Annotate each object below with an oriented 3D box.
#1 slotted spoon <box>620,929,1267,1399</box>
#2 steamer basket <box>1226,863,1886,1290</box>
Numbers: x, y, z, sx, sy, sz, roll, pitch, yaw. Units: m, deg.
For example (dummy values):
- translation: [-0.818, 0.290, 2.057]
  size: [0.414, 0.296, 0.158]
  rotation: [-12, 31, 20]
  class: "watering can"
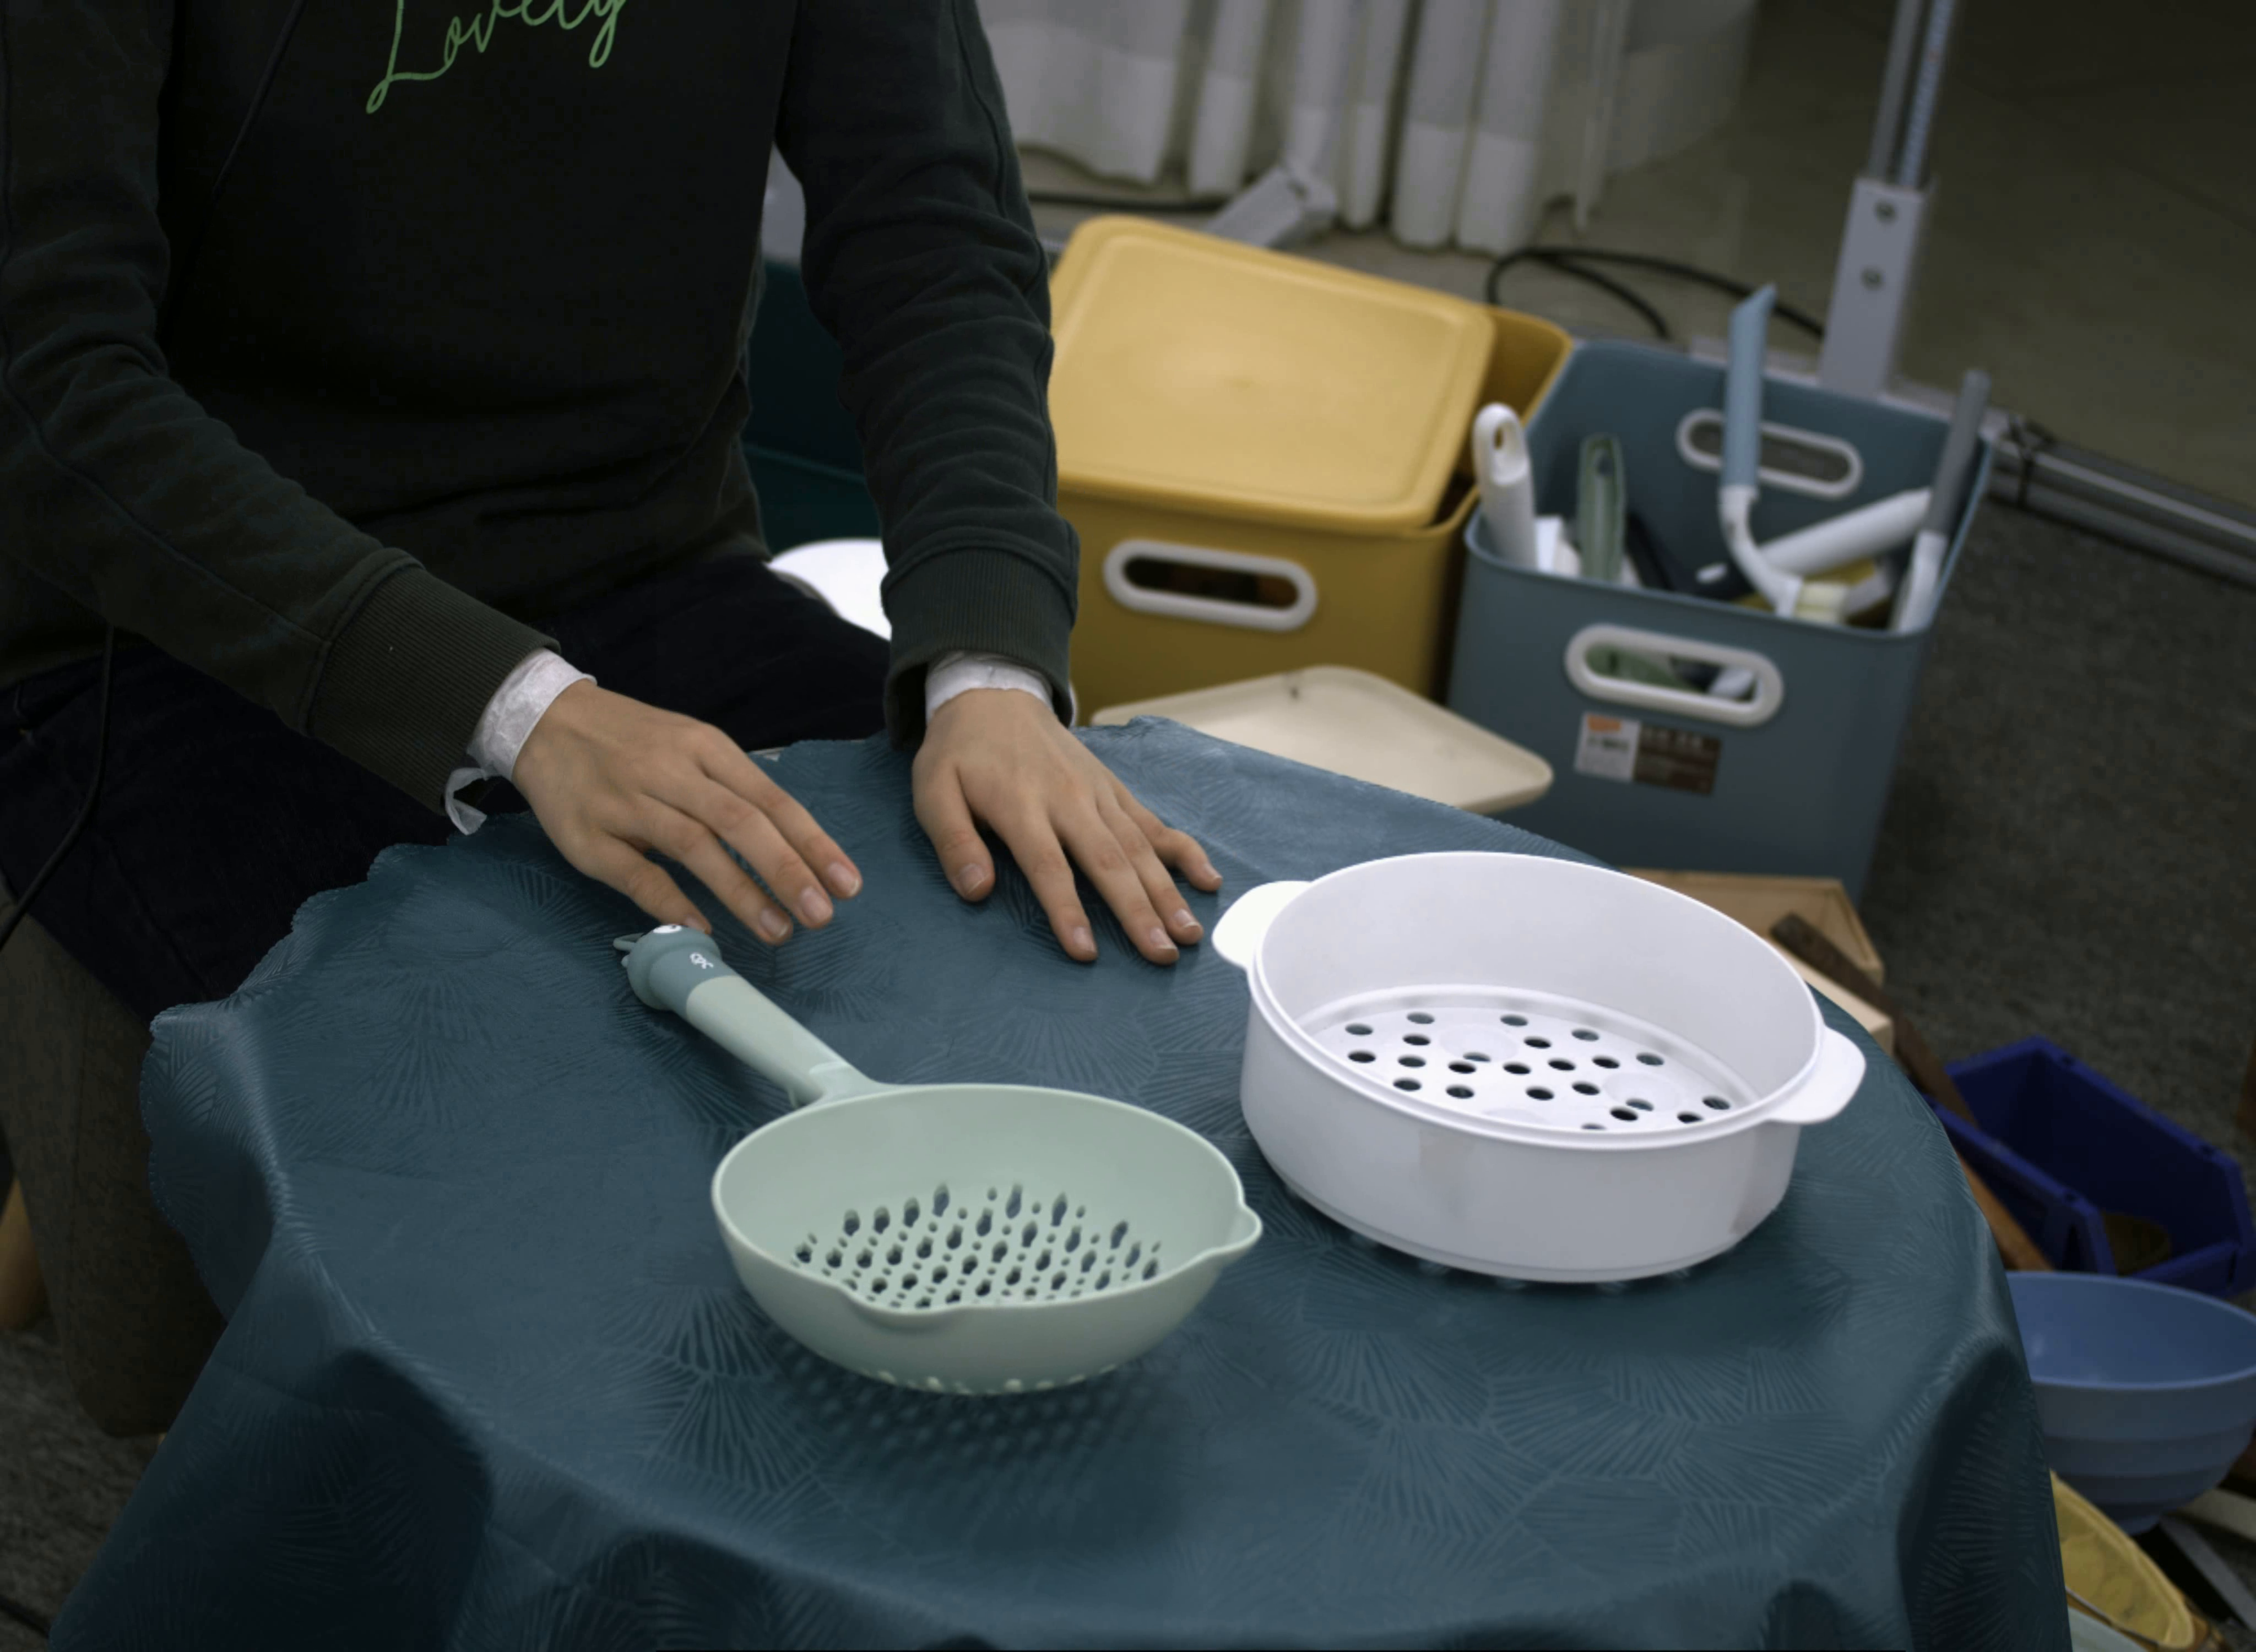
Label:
- translation: [-0.093, 0.096, 1.763]
  size: [0.168, 0.075, 0.362]
  rotation: [-9, 30, -27]
  class: "slotted spoon"
- translation: [0.142, 0.086, 1.834]
  size: [0.231, 0.069, 0.202]
  rotation: [15, 27, 17]
  class: "steamer basket"
